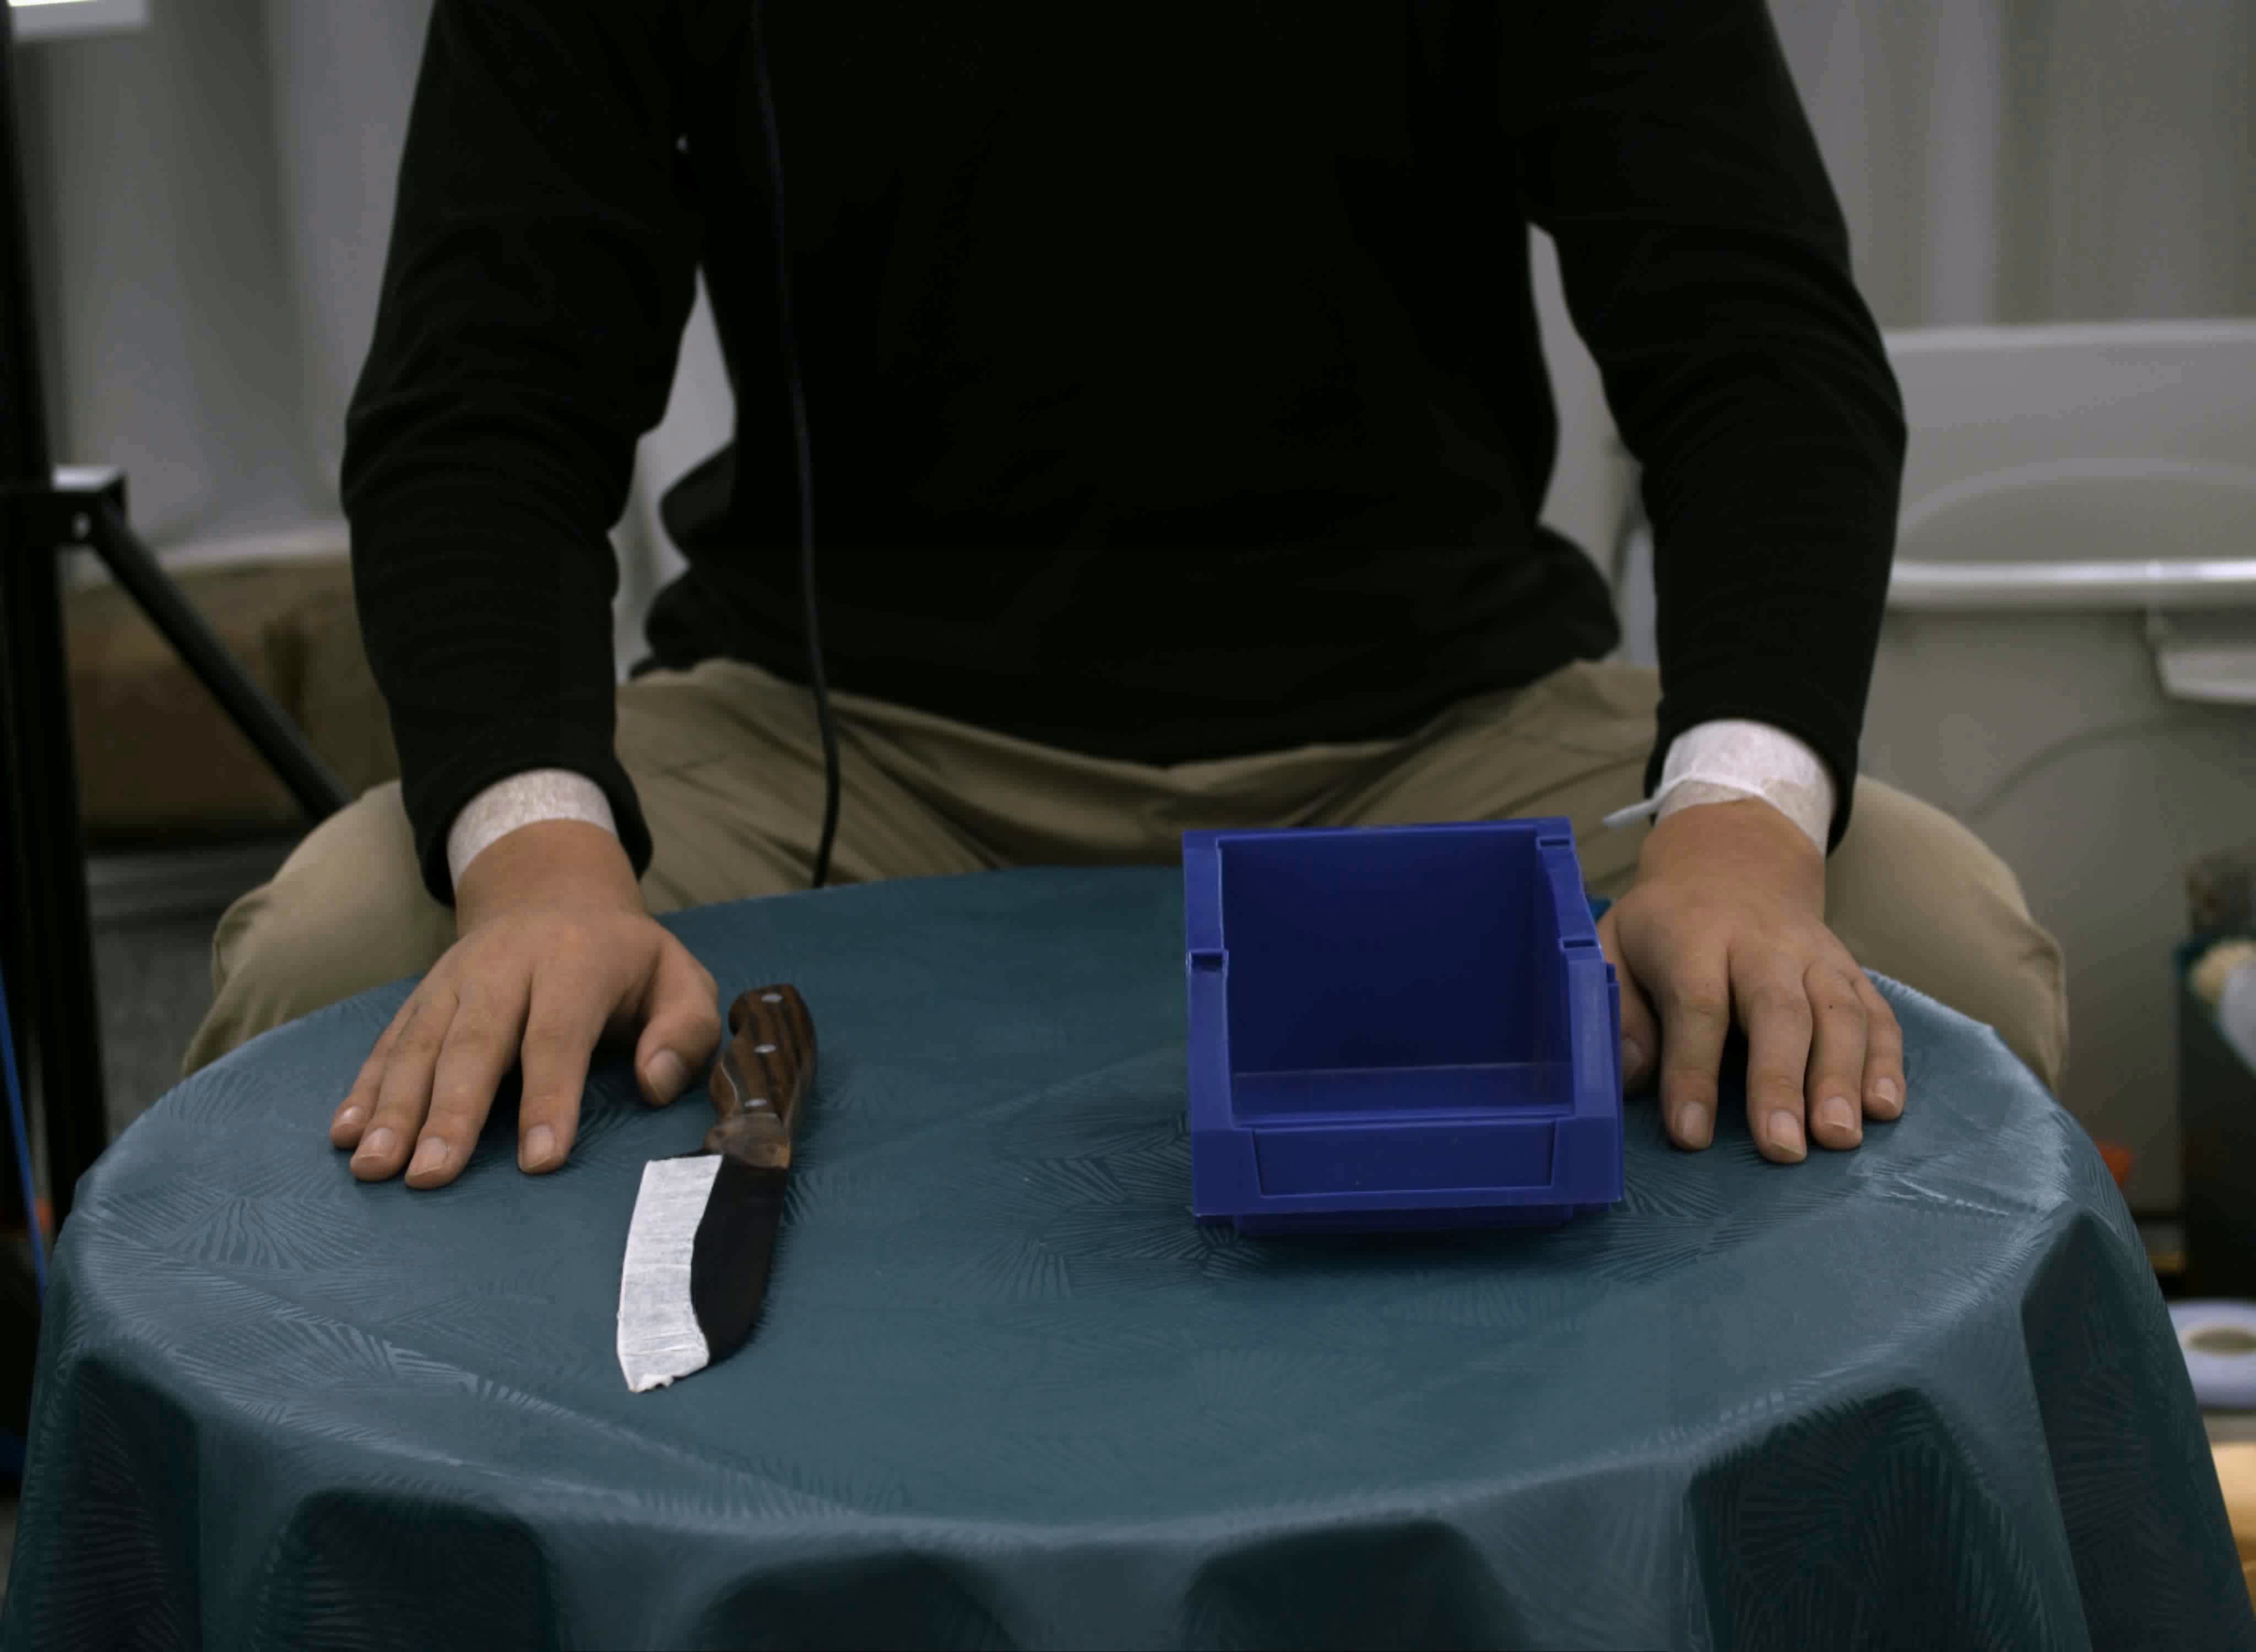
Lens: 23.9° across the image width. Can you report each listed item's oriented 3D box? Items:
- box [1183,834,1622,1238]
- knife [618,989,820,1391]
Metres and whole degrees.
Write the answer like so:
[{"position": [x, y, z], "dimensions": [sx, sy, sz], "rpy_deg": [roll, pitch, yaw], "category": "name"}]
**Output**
[{"position": [0.080, 0.064, 1.550], "dimensions": [0.124, 0.082, 0.179], "rpy_deg": [-1, 13, 3], "category": "box"}, {"position": [-0.118, 0.105, 1.560], "dimensions": [0.050, 0.020, 0.289], "rpy_deg": [-6, 18, 6], "category": "knife"}]
